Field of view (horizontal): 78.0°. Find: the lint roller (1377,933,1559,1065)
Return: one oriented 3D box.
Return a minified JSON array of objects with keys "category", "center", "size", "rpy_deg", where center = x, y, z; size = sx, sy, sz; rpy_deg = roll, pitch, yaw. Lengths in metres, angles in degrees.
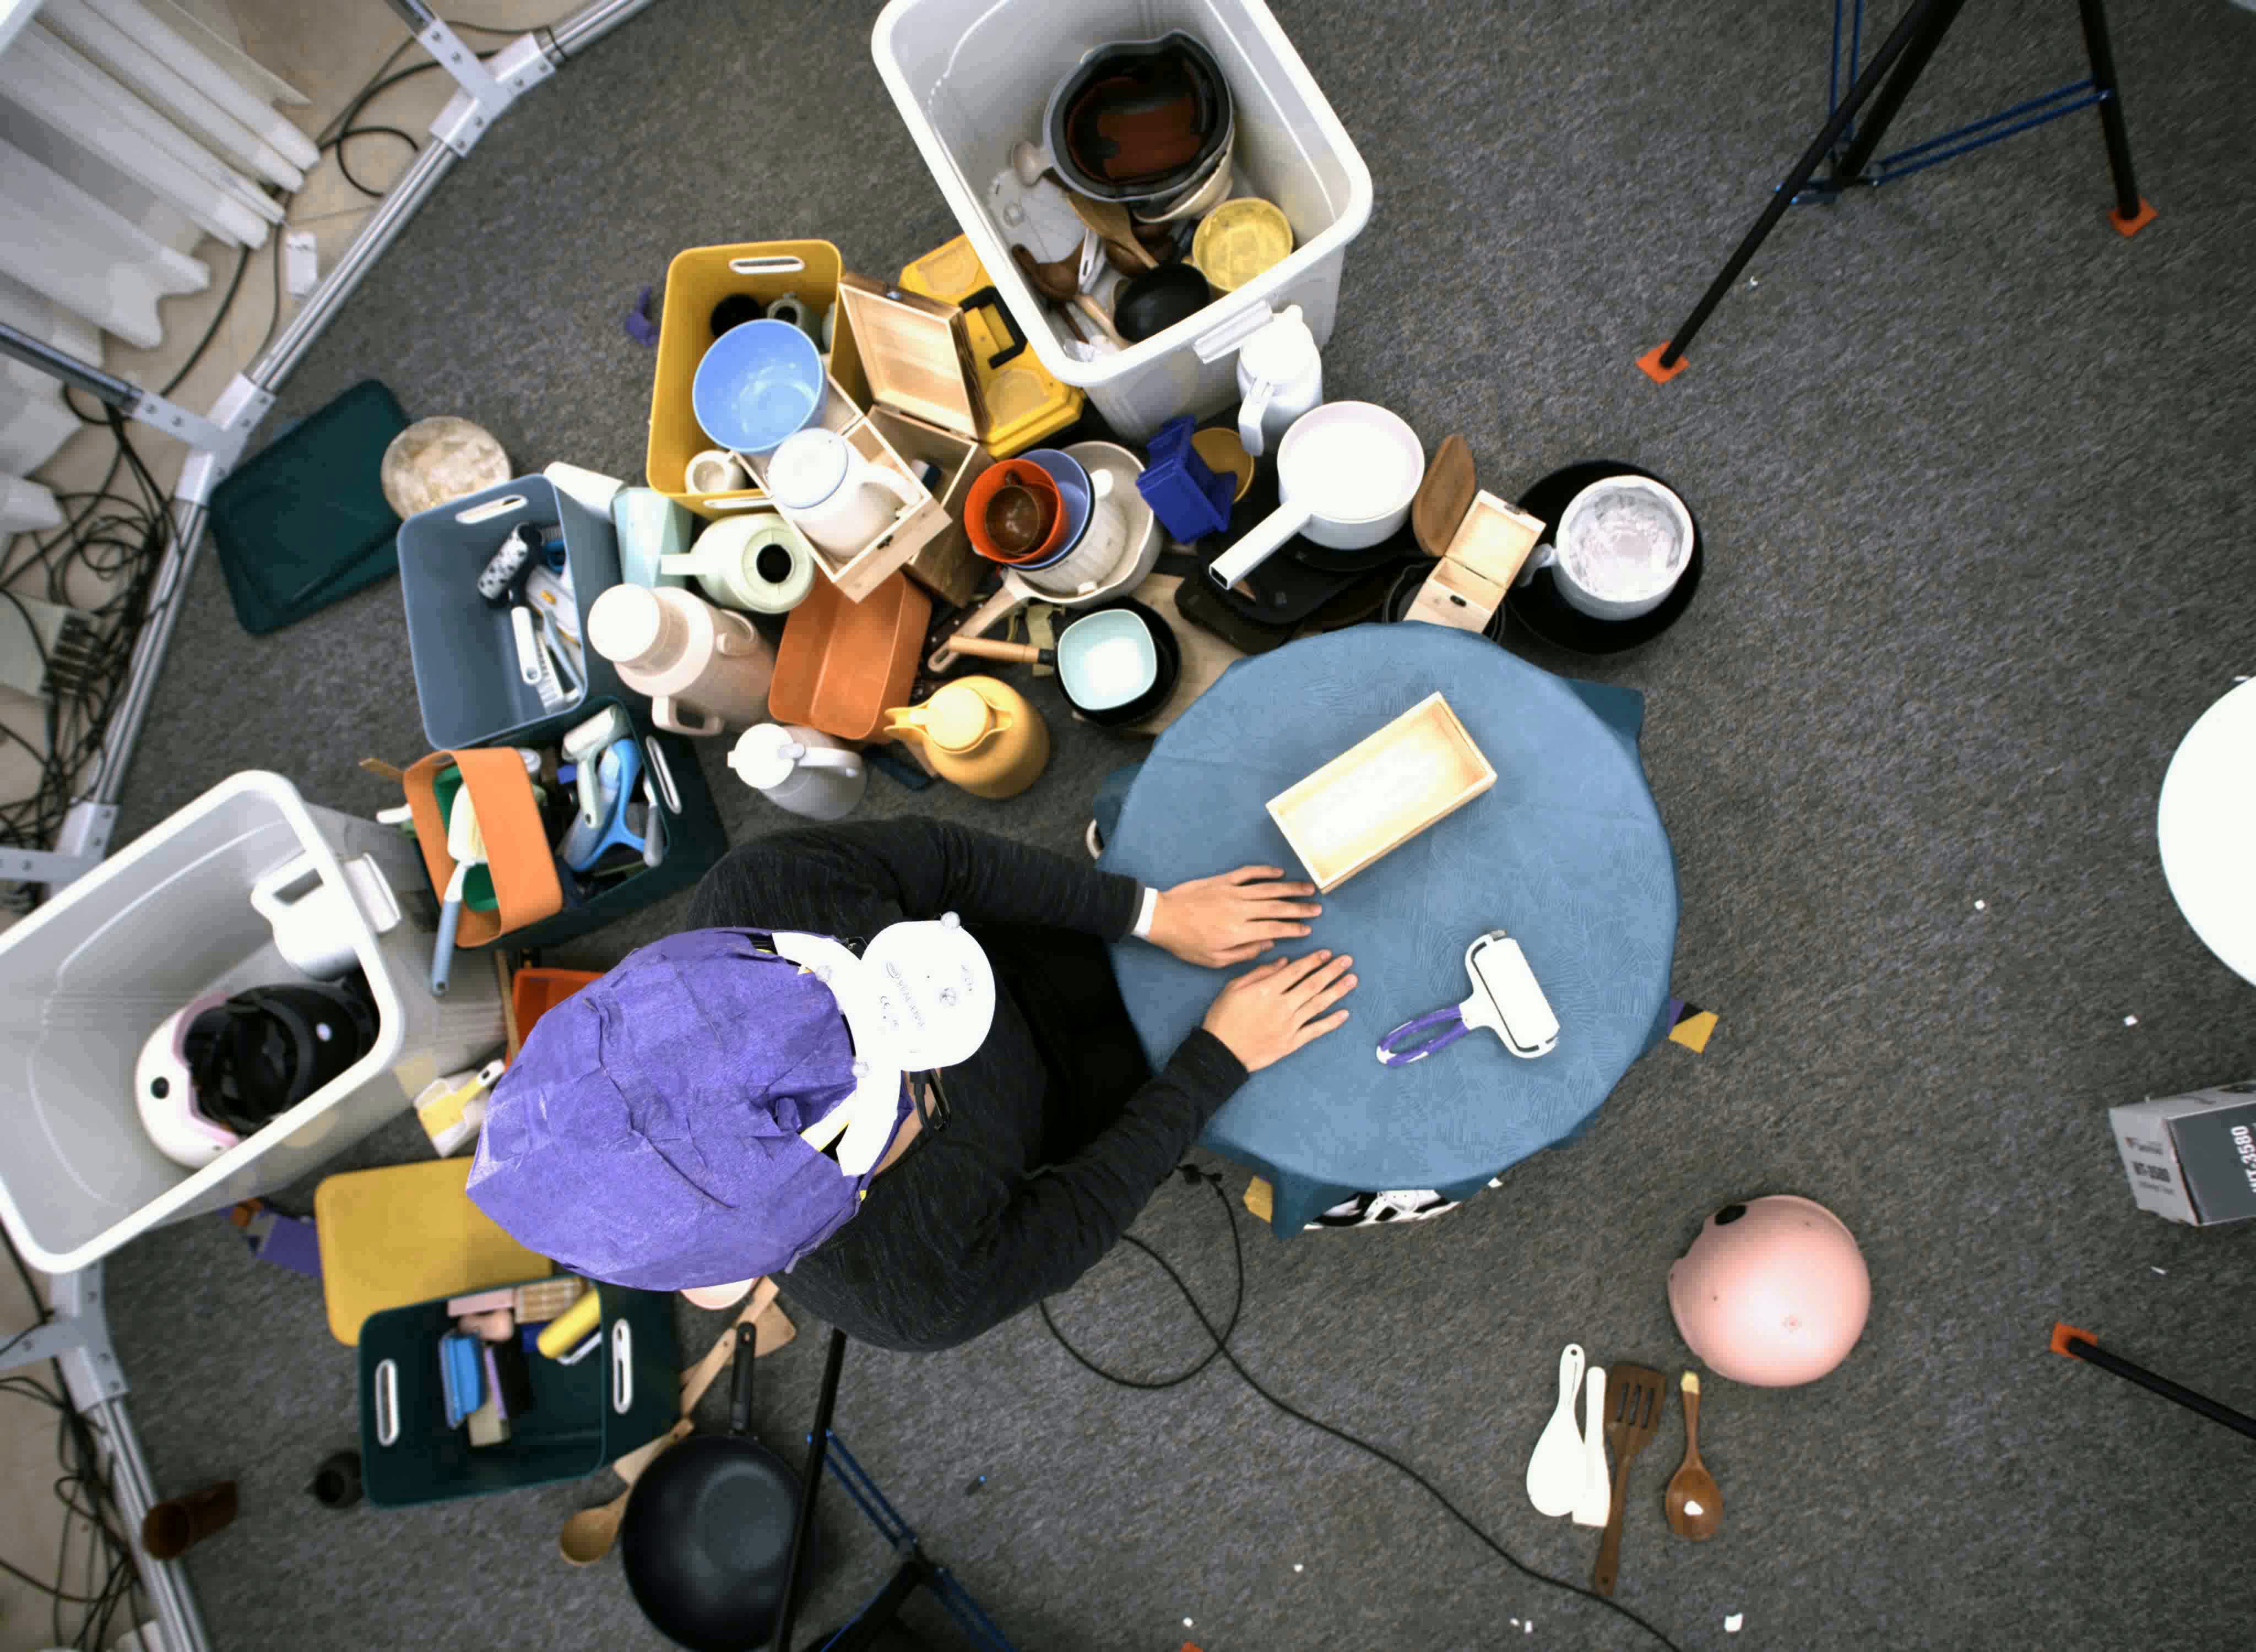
[{"category":"lint roller","center":[0.338,0.196,1.416],"size":[0.181,0.050,0.132],"rpy_deg":[-25,84,6]}]

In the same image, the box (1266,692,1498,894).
[{"category":"box","center":[0.261,-0.033,1.427],"size":[0.212,0.080,0.107],"rpy_deg":[-34,81,8]}]
